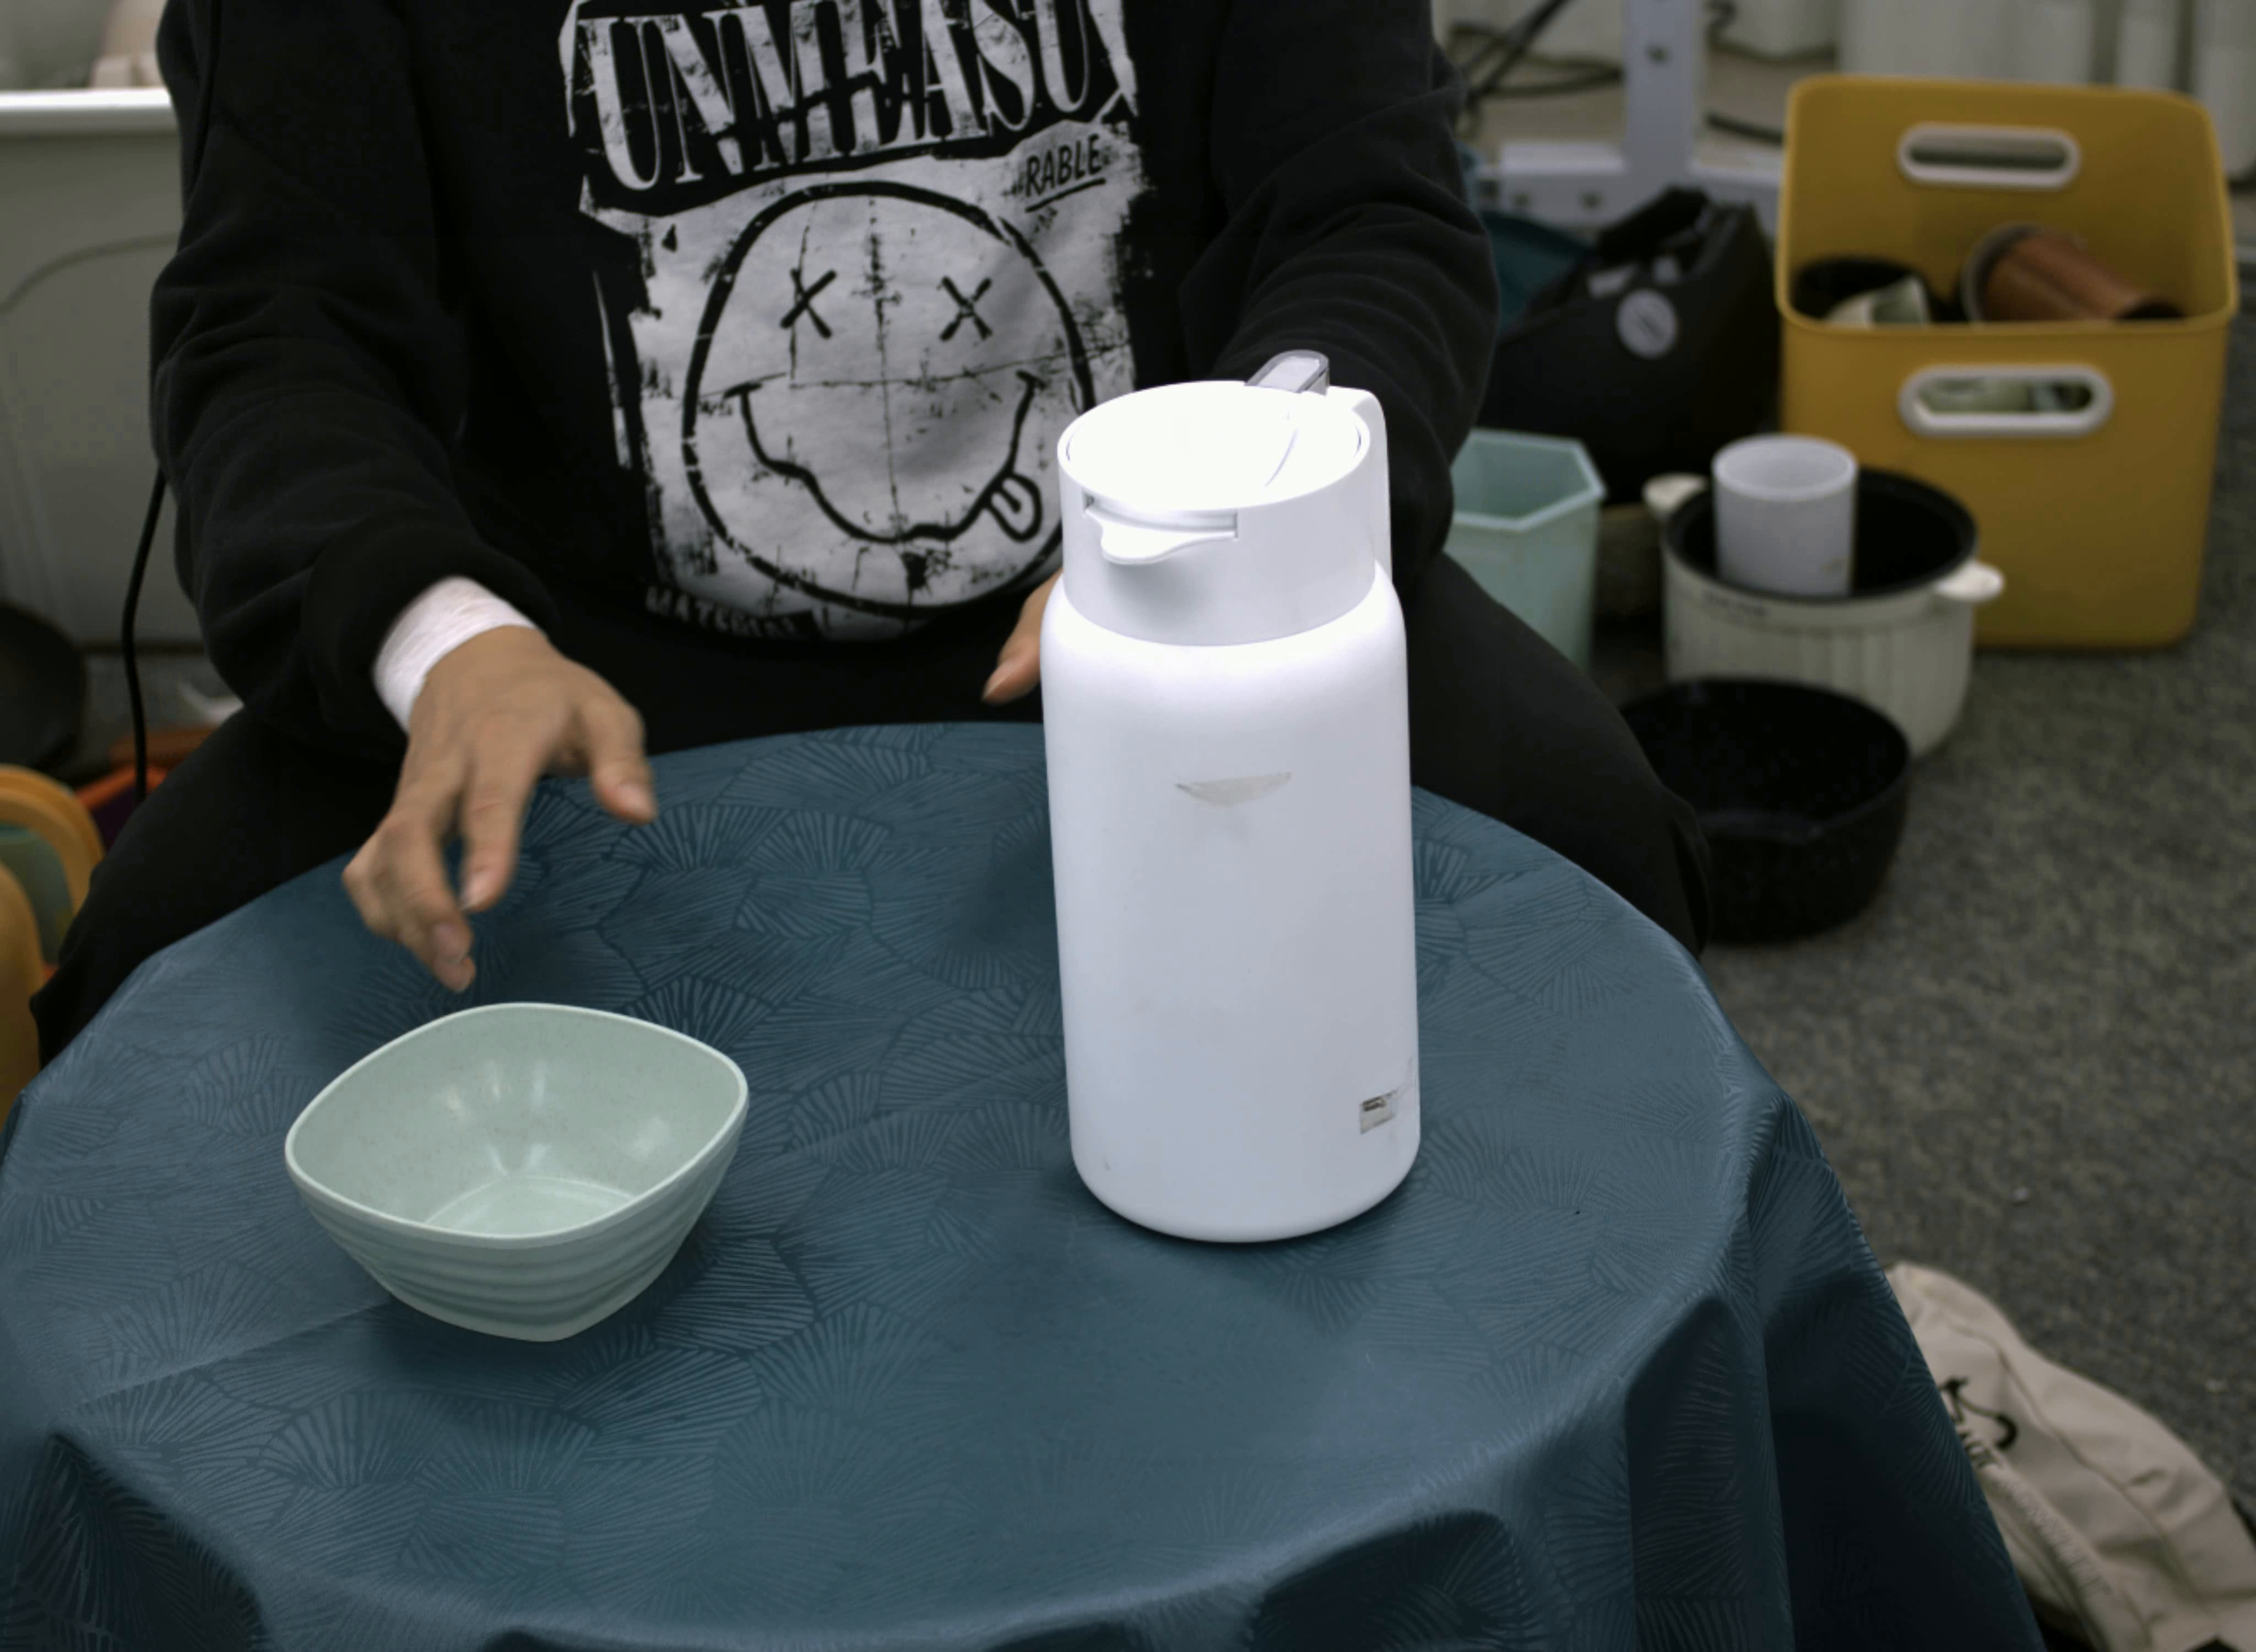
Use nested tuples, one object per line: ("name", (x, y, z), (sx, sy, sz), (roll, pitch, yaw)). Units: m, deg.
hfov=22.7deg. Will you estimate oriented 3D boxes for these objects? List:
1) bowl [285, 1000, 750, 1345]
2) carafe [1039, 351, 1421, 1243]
("bowl", (-0.195, 0.119, 1.824), (0.151, 0.058, 0.154), (-2, 28, 2))
("carafe", (0.039, -0.013, 1.829), (0.123, 0.266, 0.176), (6, 28, 23))
